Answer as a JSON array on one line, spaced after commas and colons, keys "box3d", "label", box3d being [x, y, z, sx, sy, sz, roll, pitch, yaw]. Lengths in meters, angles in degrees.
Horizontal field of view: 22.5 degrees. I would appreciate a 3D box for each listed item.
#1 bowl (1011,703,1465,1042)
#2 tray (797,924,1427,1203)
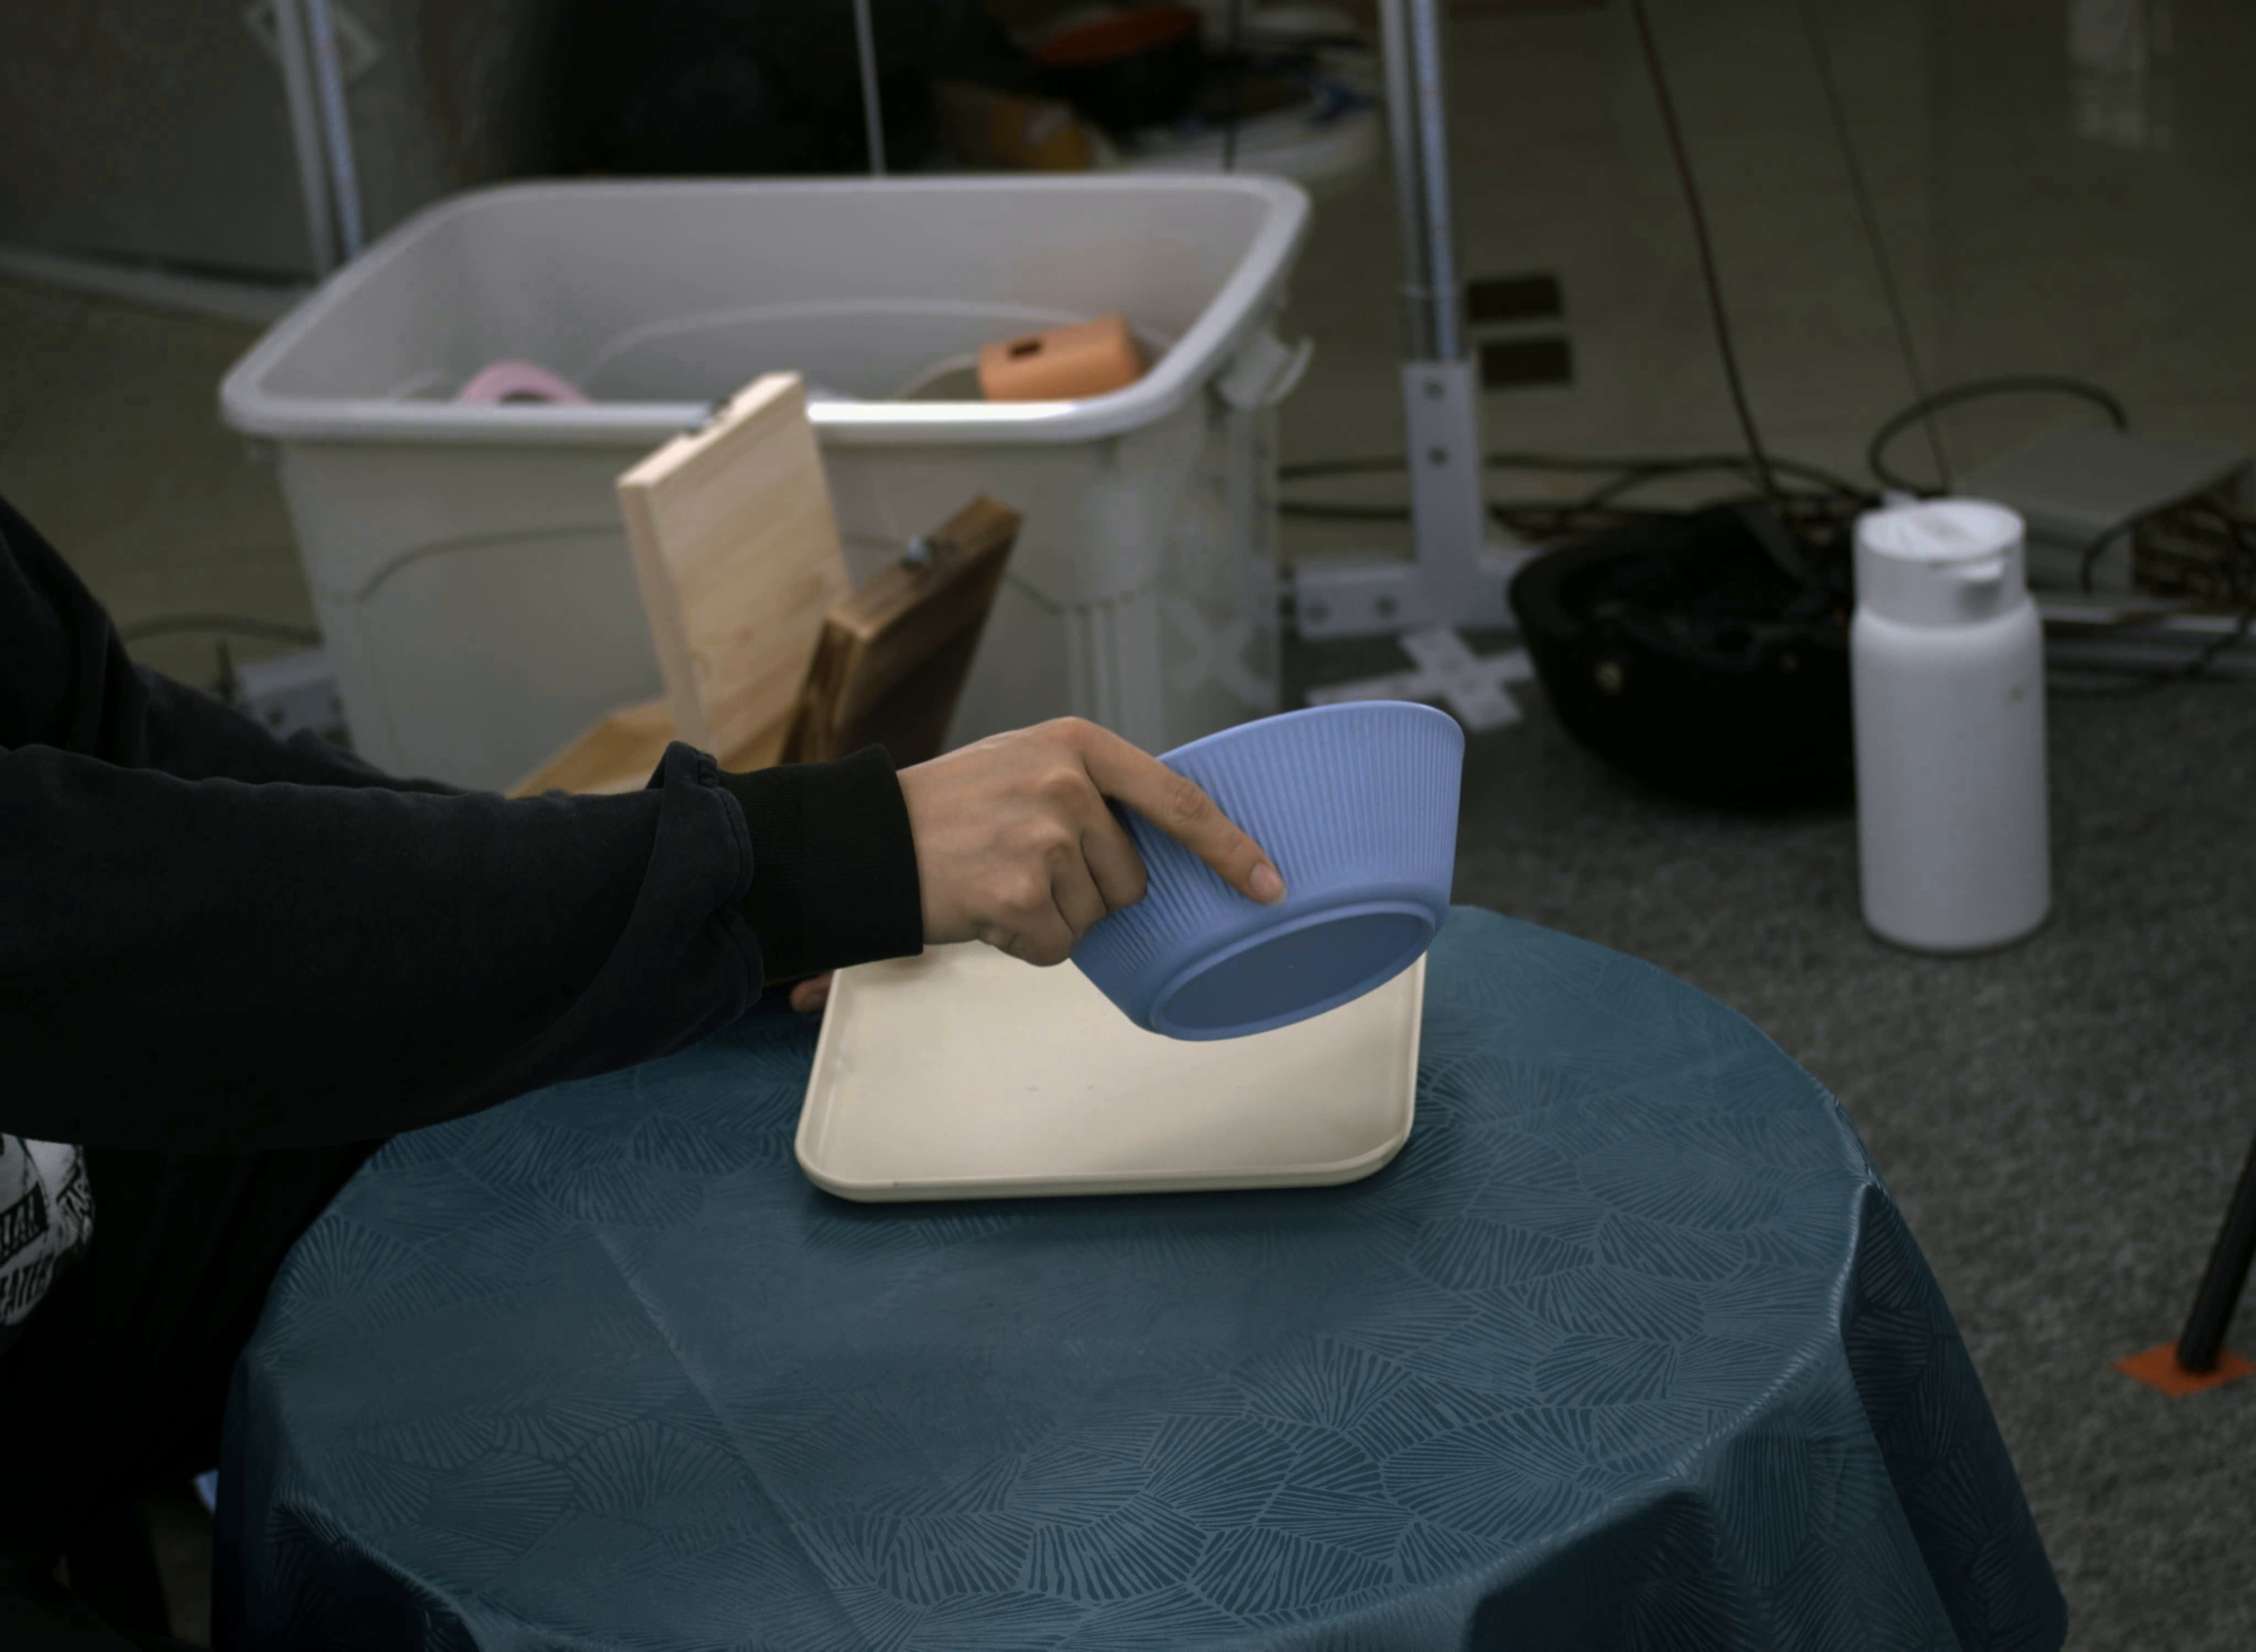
[{"box3d": [0.050, 0.024, 2.055, 0.175, 0.178, 0.069, -17, 71, -6], "label": "bowl"}, {"box3d": [-0.004, 0.091, 2.208, 0.239, 0.018, 0.168, -2, 35, 8], "label": "tray"}]
